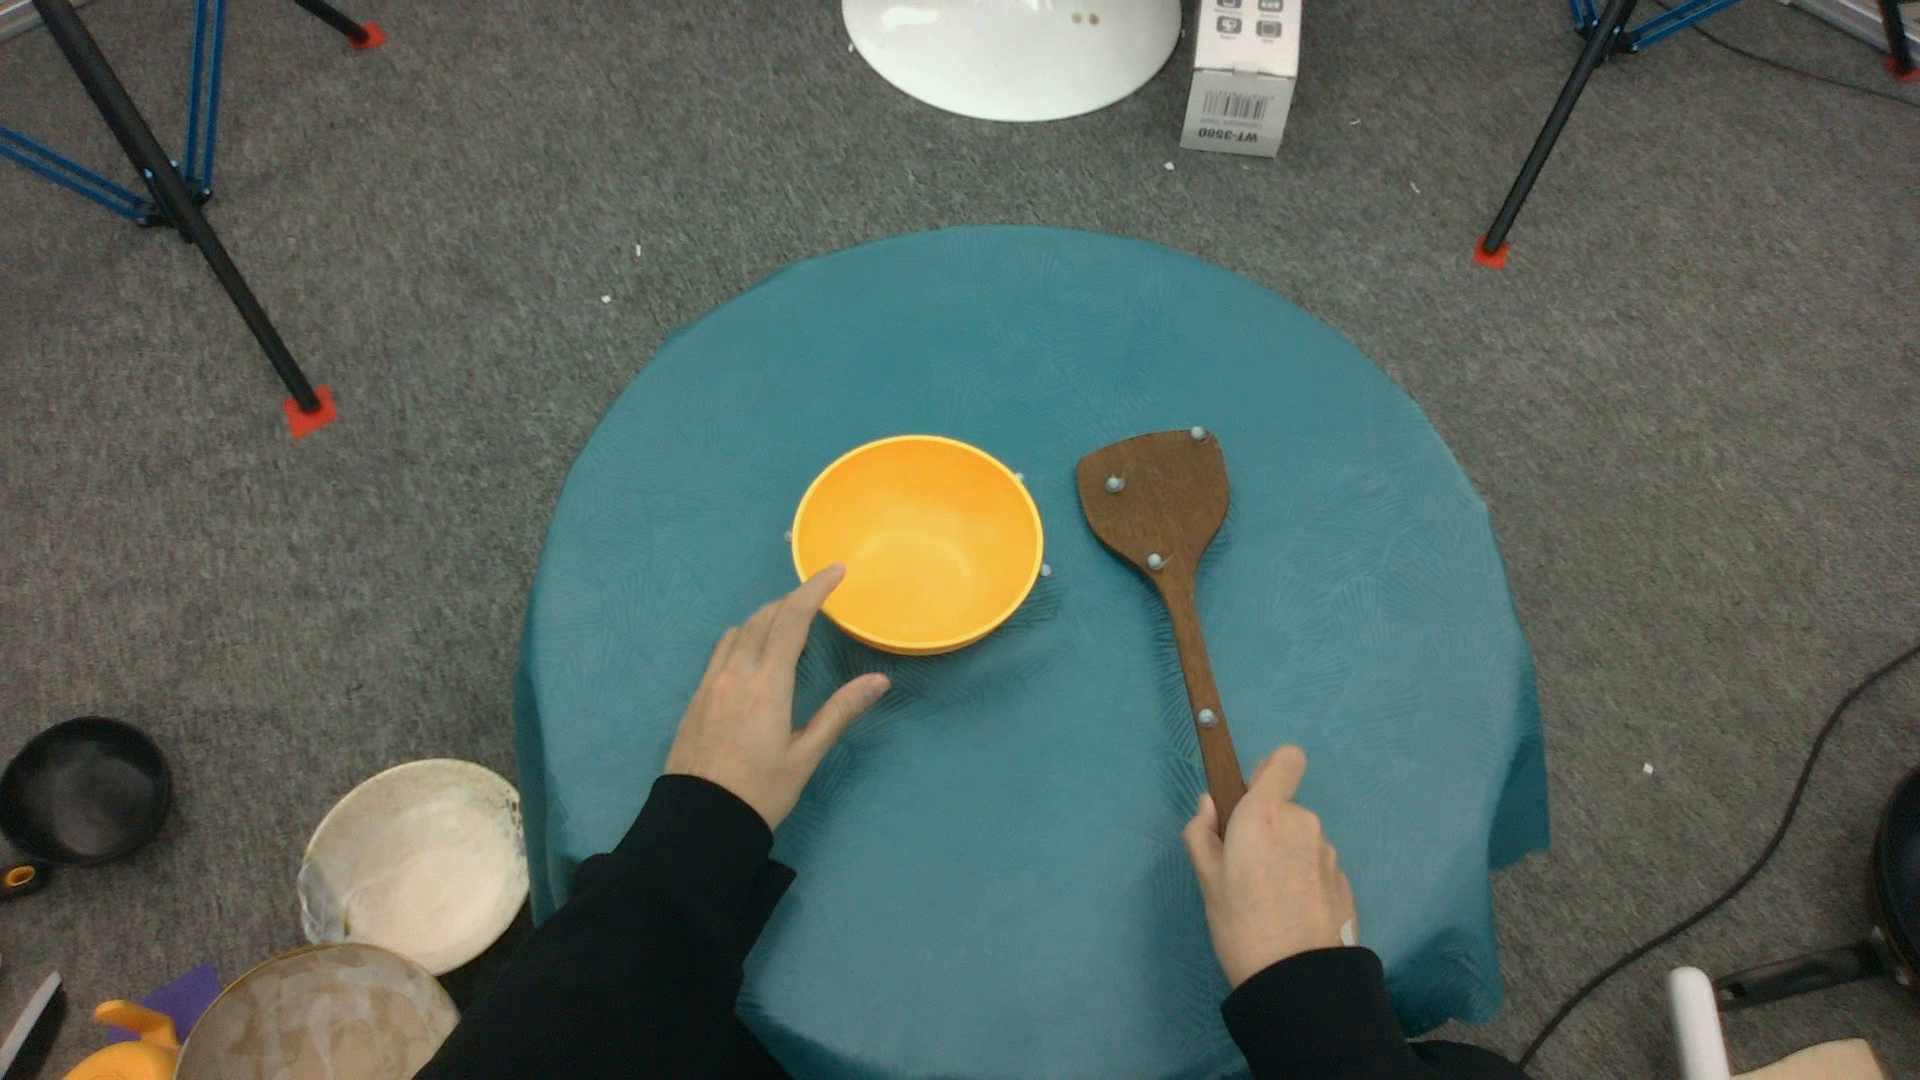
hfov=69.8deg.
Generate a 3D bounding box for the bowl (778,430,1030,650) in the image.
[{"bbox_3d":[-0.032,0.010,0.814,0.145,0.060,0.146,0,58,0],"label":"bowl"}]

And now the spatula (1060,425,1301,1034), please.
[{"bbox_3d":[0.130,0.082,0.773,0.096,0.016,0.387,-13,51,6],"label":"spatula"}]
